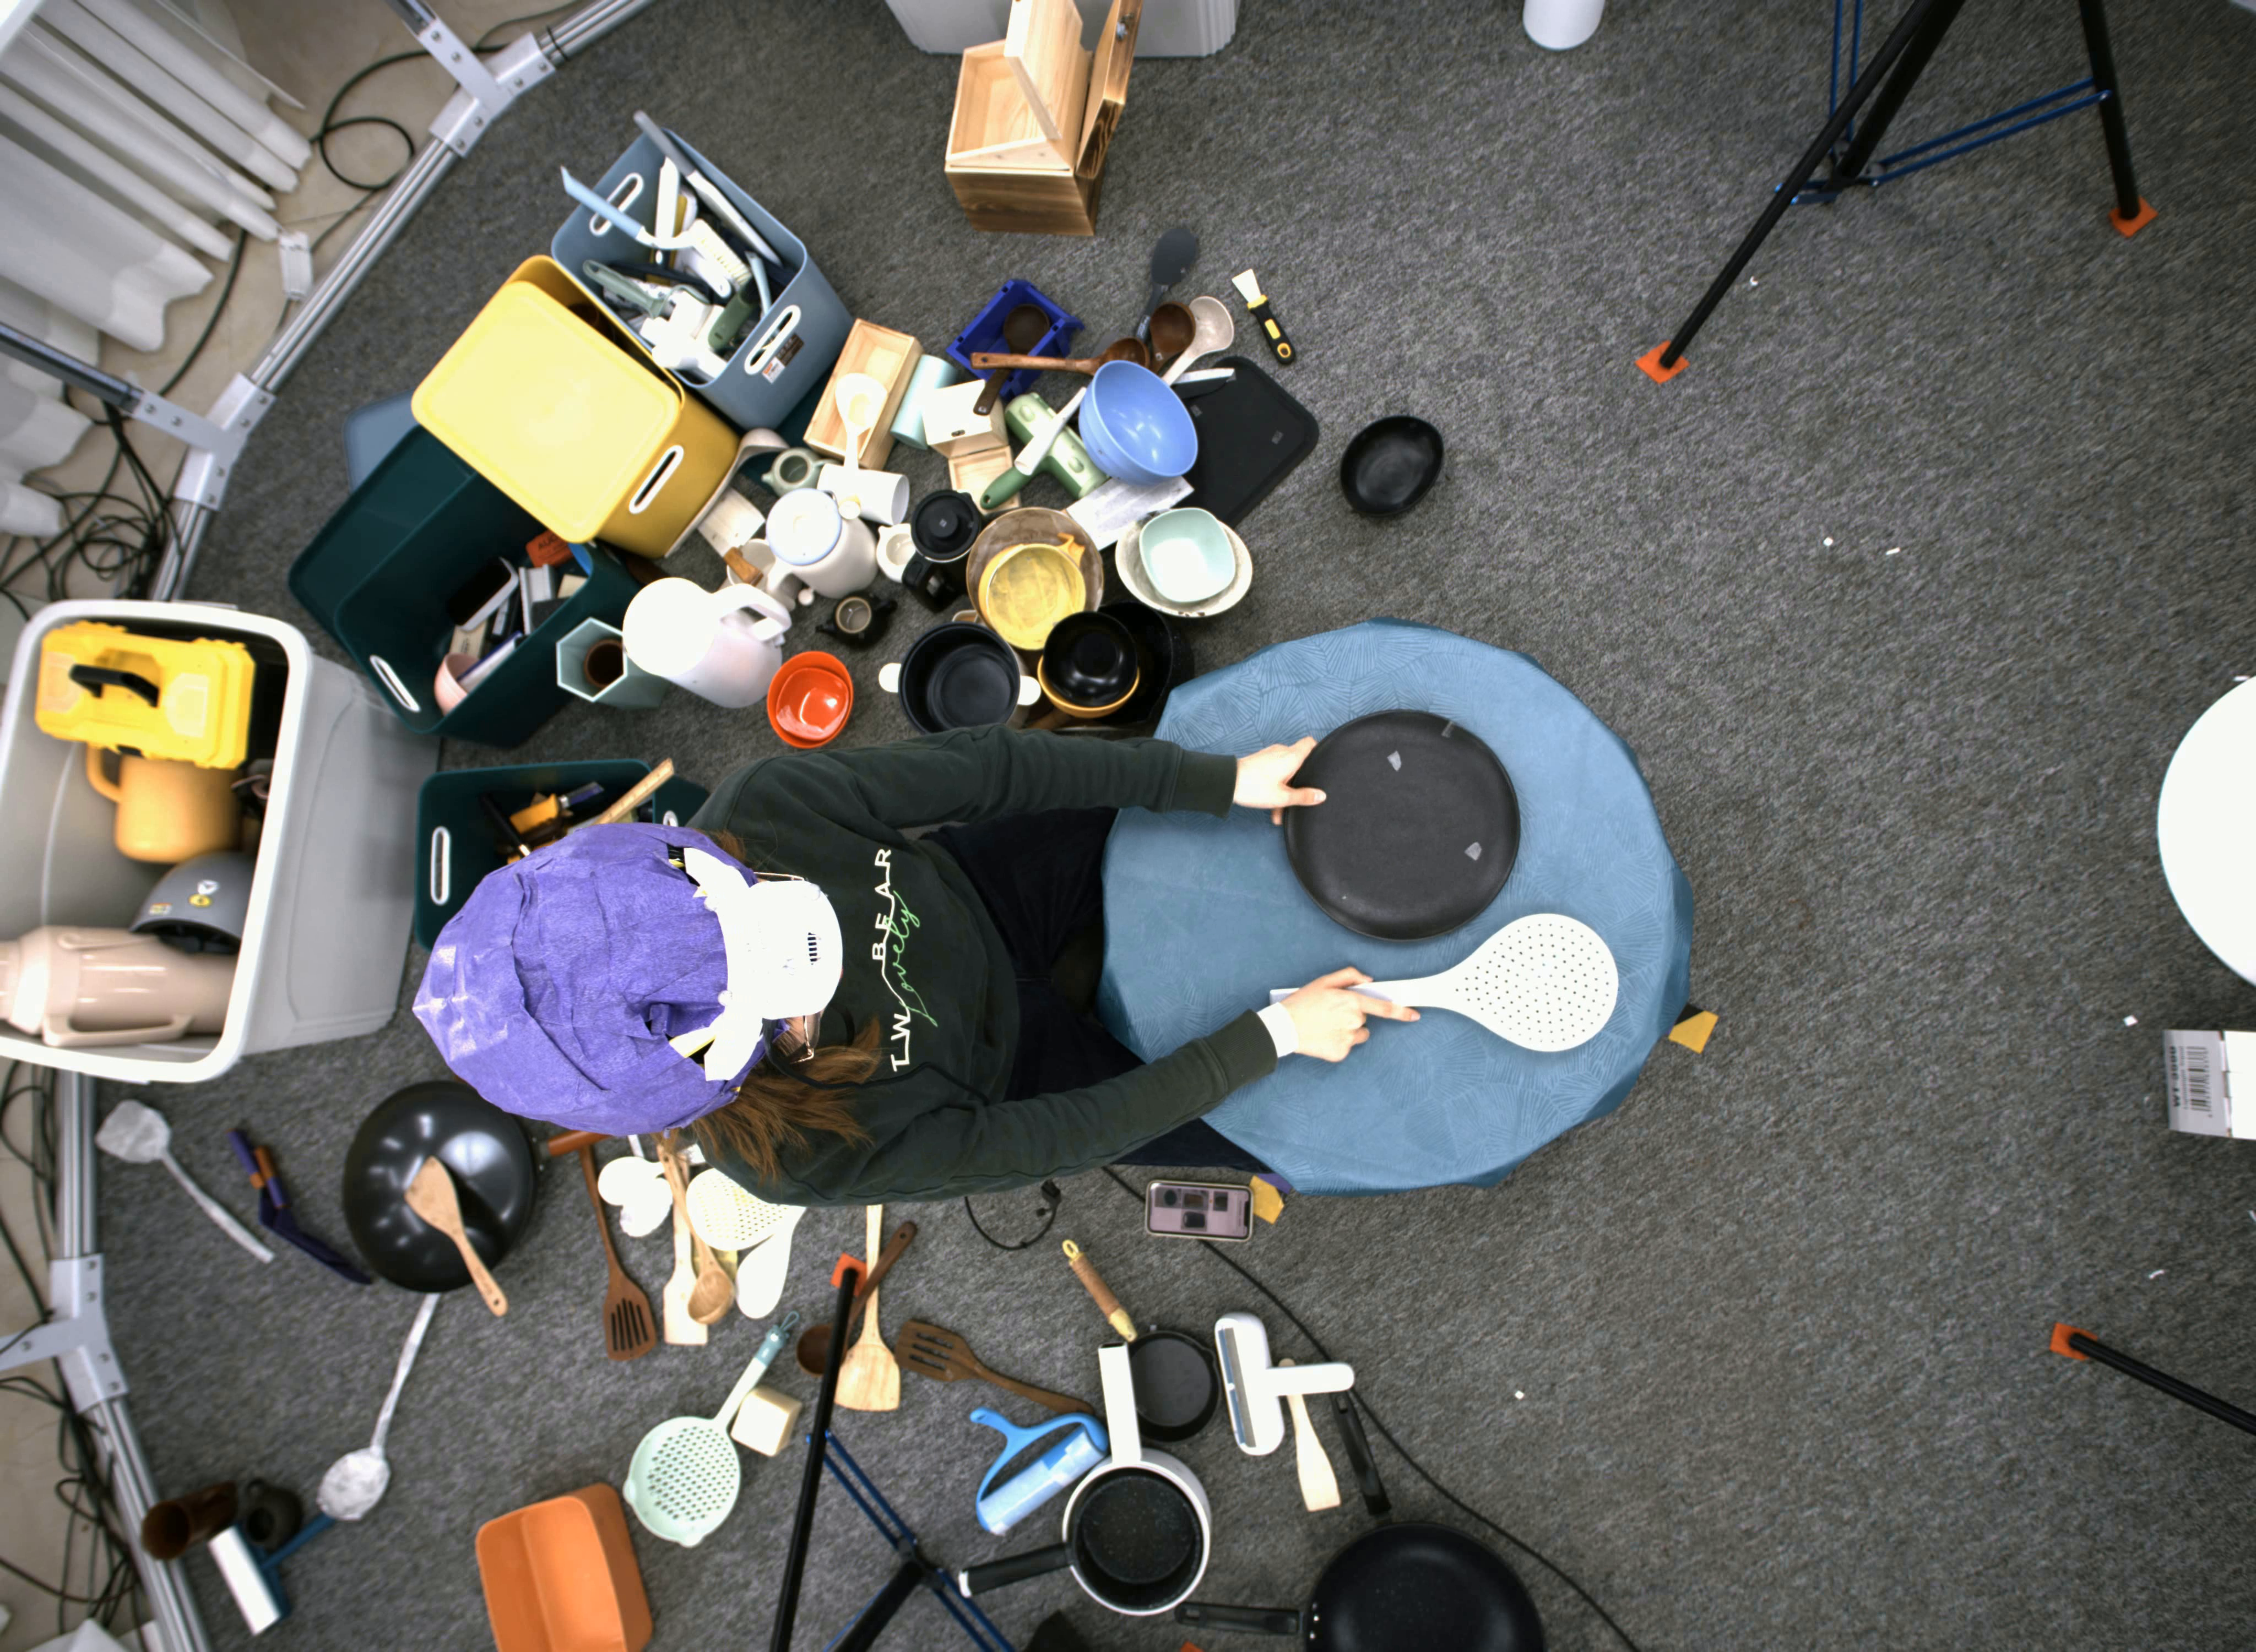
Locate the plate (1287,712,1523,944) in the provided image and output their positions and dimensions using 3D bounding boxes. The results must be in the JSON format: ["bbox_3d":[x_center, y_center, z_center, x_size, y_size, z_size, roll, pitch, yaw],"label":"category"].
[{"bbox_3d":[0.289,0.001,1.447,0.245,0.023,0.244,0,90,8],"label":"plate"}]

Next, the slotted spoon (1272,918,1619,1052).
[{"bbox_3d":[0.322,0.170,1.425,0.351,0.046,0.134,-5,79,11],"label":"slotted spoon"}]
